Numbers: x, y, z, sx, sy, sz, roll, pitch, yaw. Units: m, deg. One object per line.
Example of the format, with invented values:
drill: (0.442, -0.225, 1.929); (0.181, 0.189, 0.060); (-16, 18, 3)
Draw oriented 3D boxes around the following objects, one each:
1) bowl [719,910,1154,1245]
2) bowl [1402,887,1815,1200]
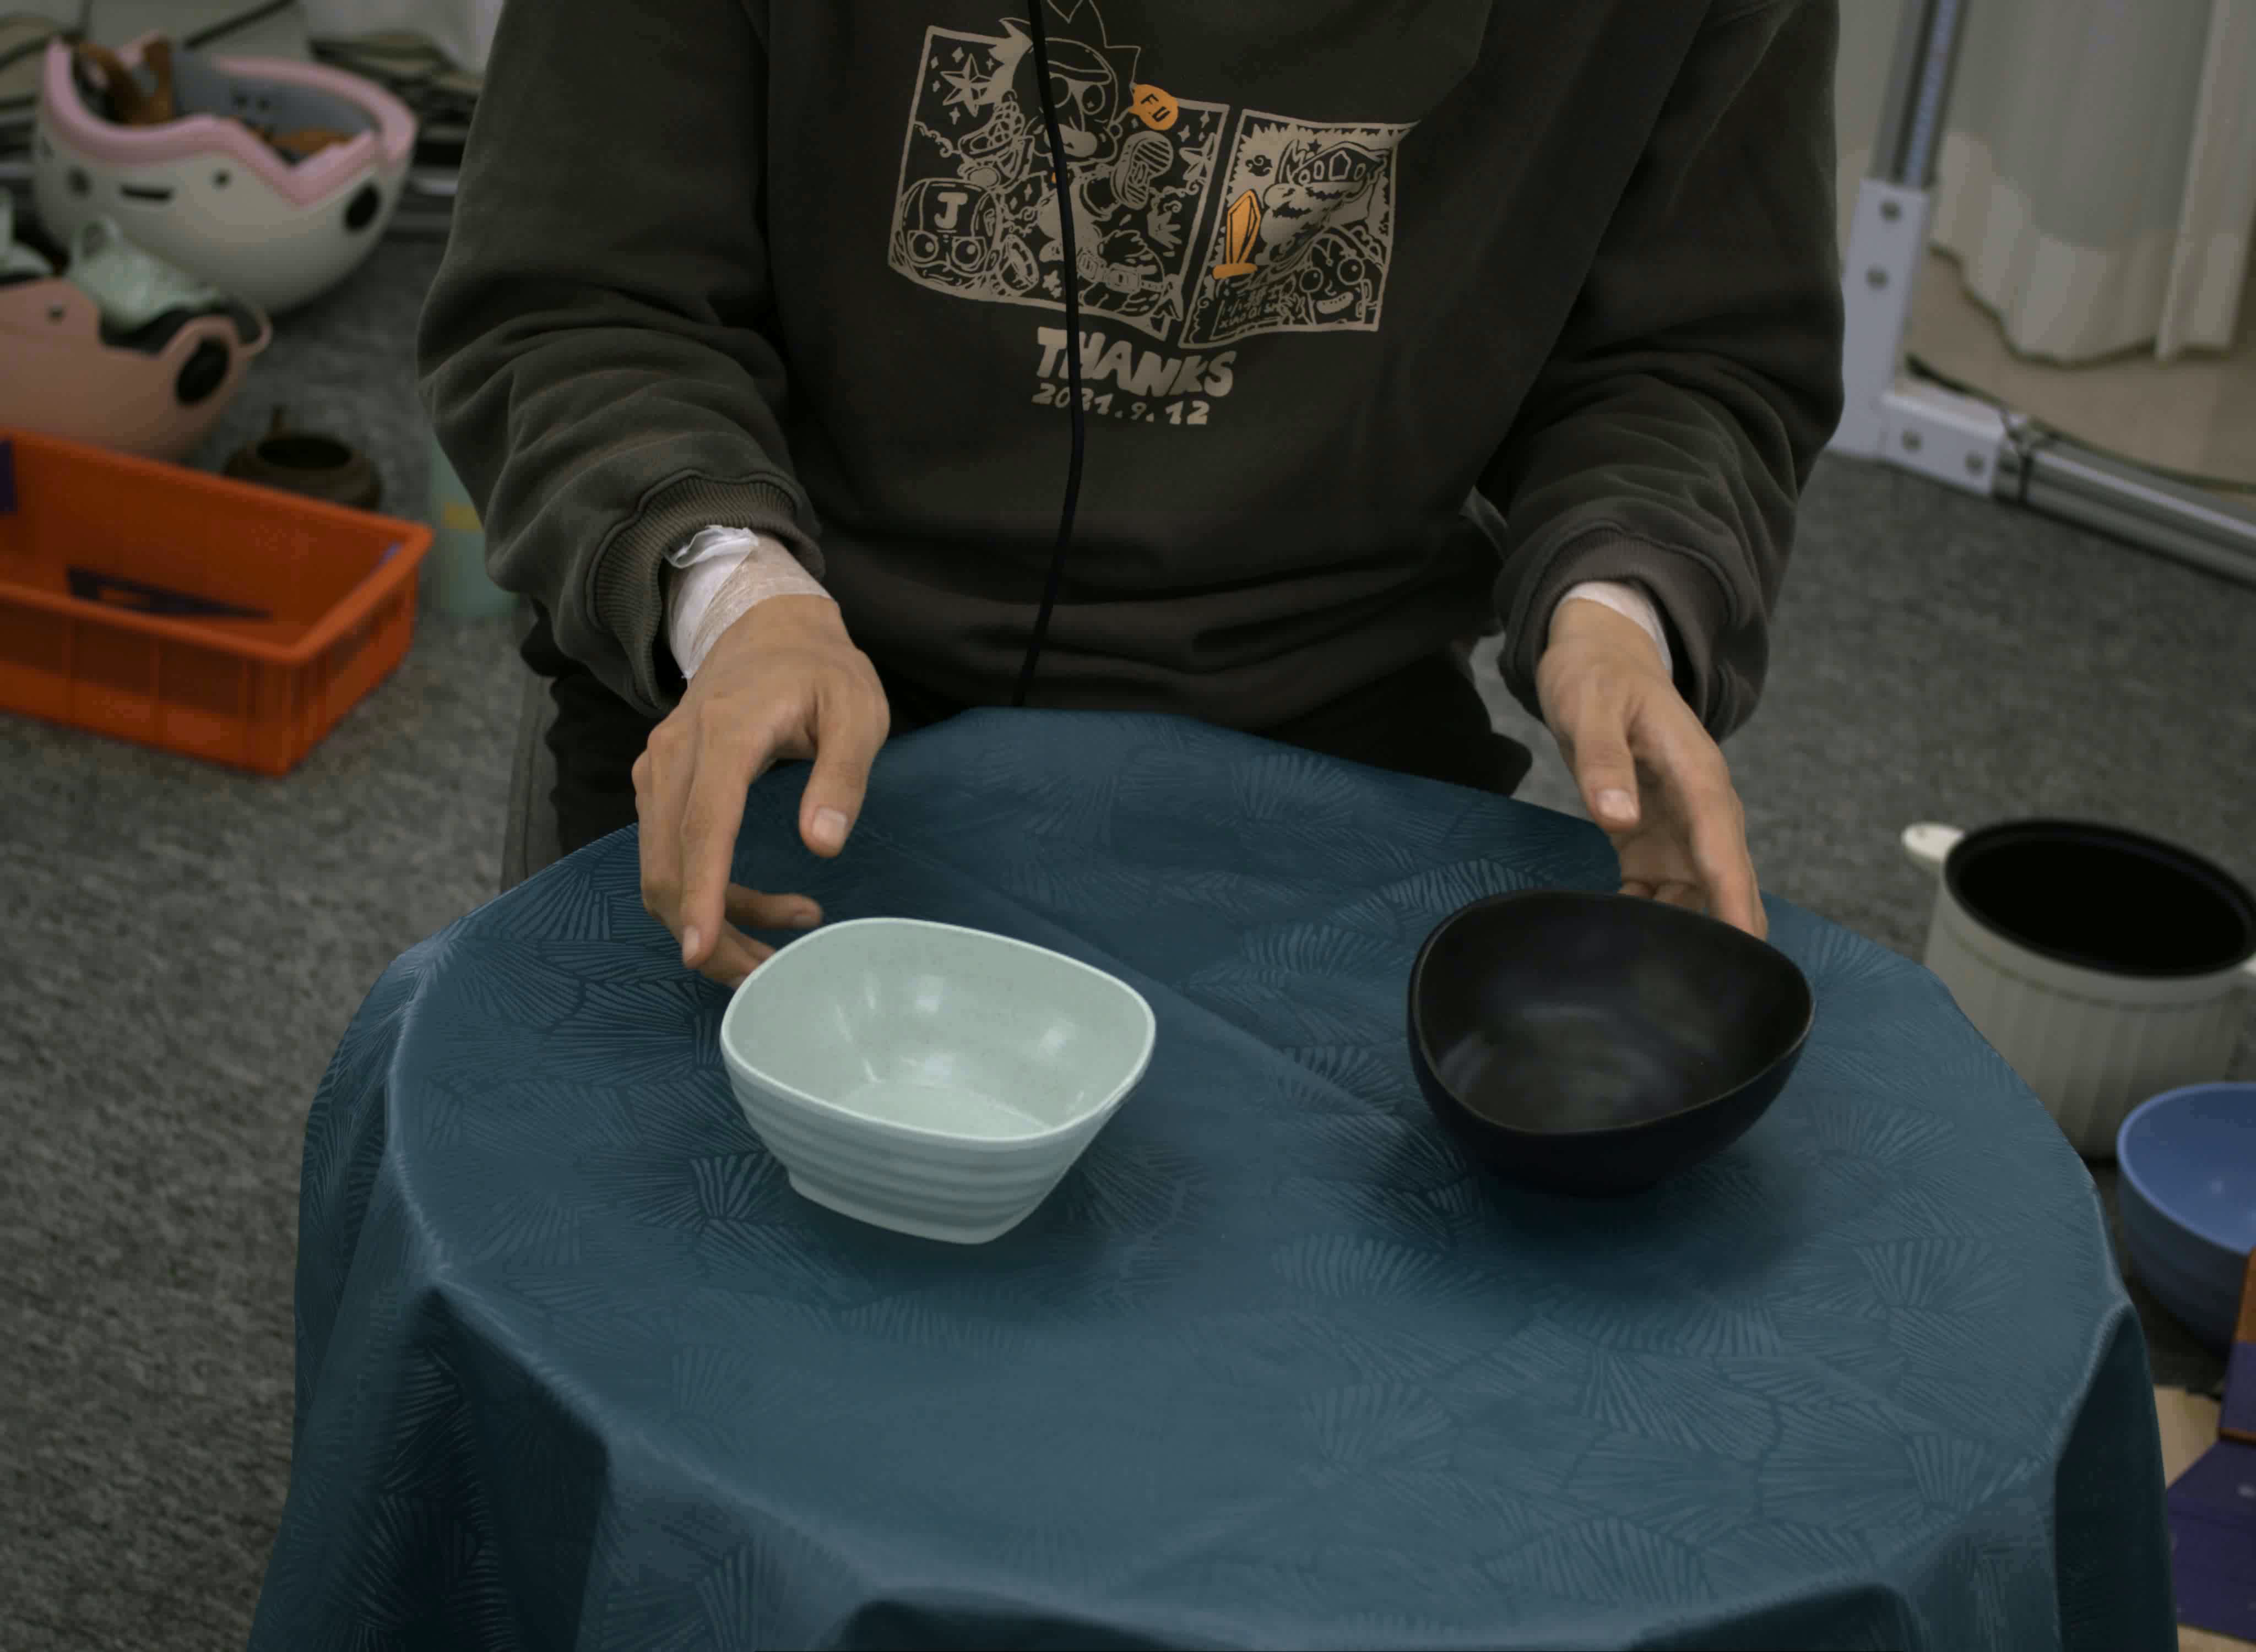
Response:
bowl: (-0.067, 0.091, 1.790); (0.151, 0.058, 0.152); (7, 28, -4)
bowl: (0.163, 0.086, 1.847); (0.138, 0.066, 0.170); (18, 30, 21)
